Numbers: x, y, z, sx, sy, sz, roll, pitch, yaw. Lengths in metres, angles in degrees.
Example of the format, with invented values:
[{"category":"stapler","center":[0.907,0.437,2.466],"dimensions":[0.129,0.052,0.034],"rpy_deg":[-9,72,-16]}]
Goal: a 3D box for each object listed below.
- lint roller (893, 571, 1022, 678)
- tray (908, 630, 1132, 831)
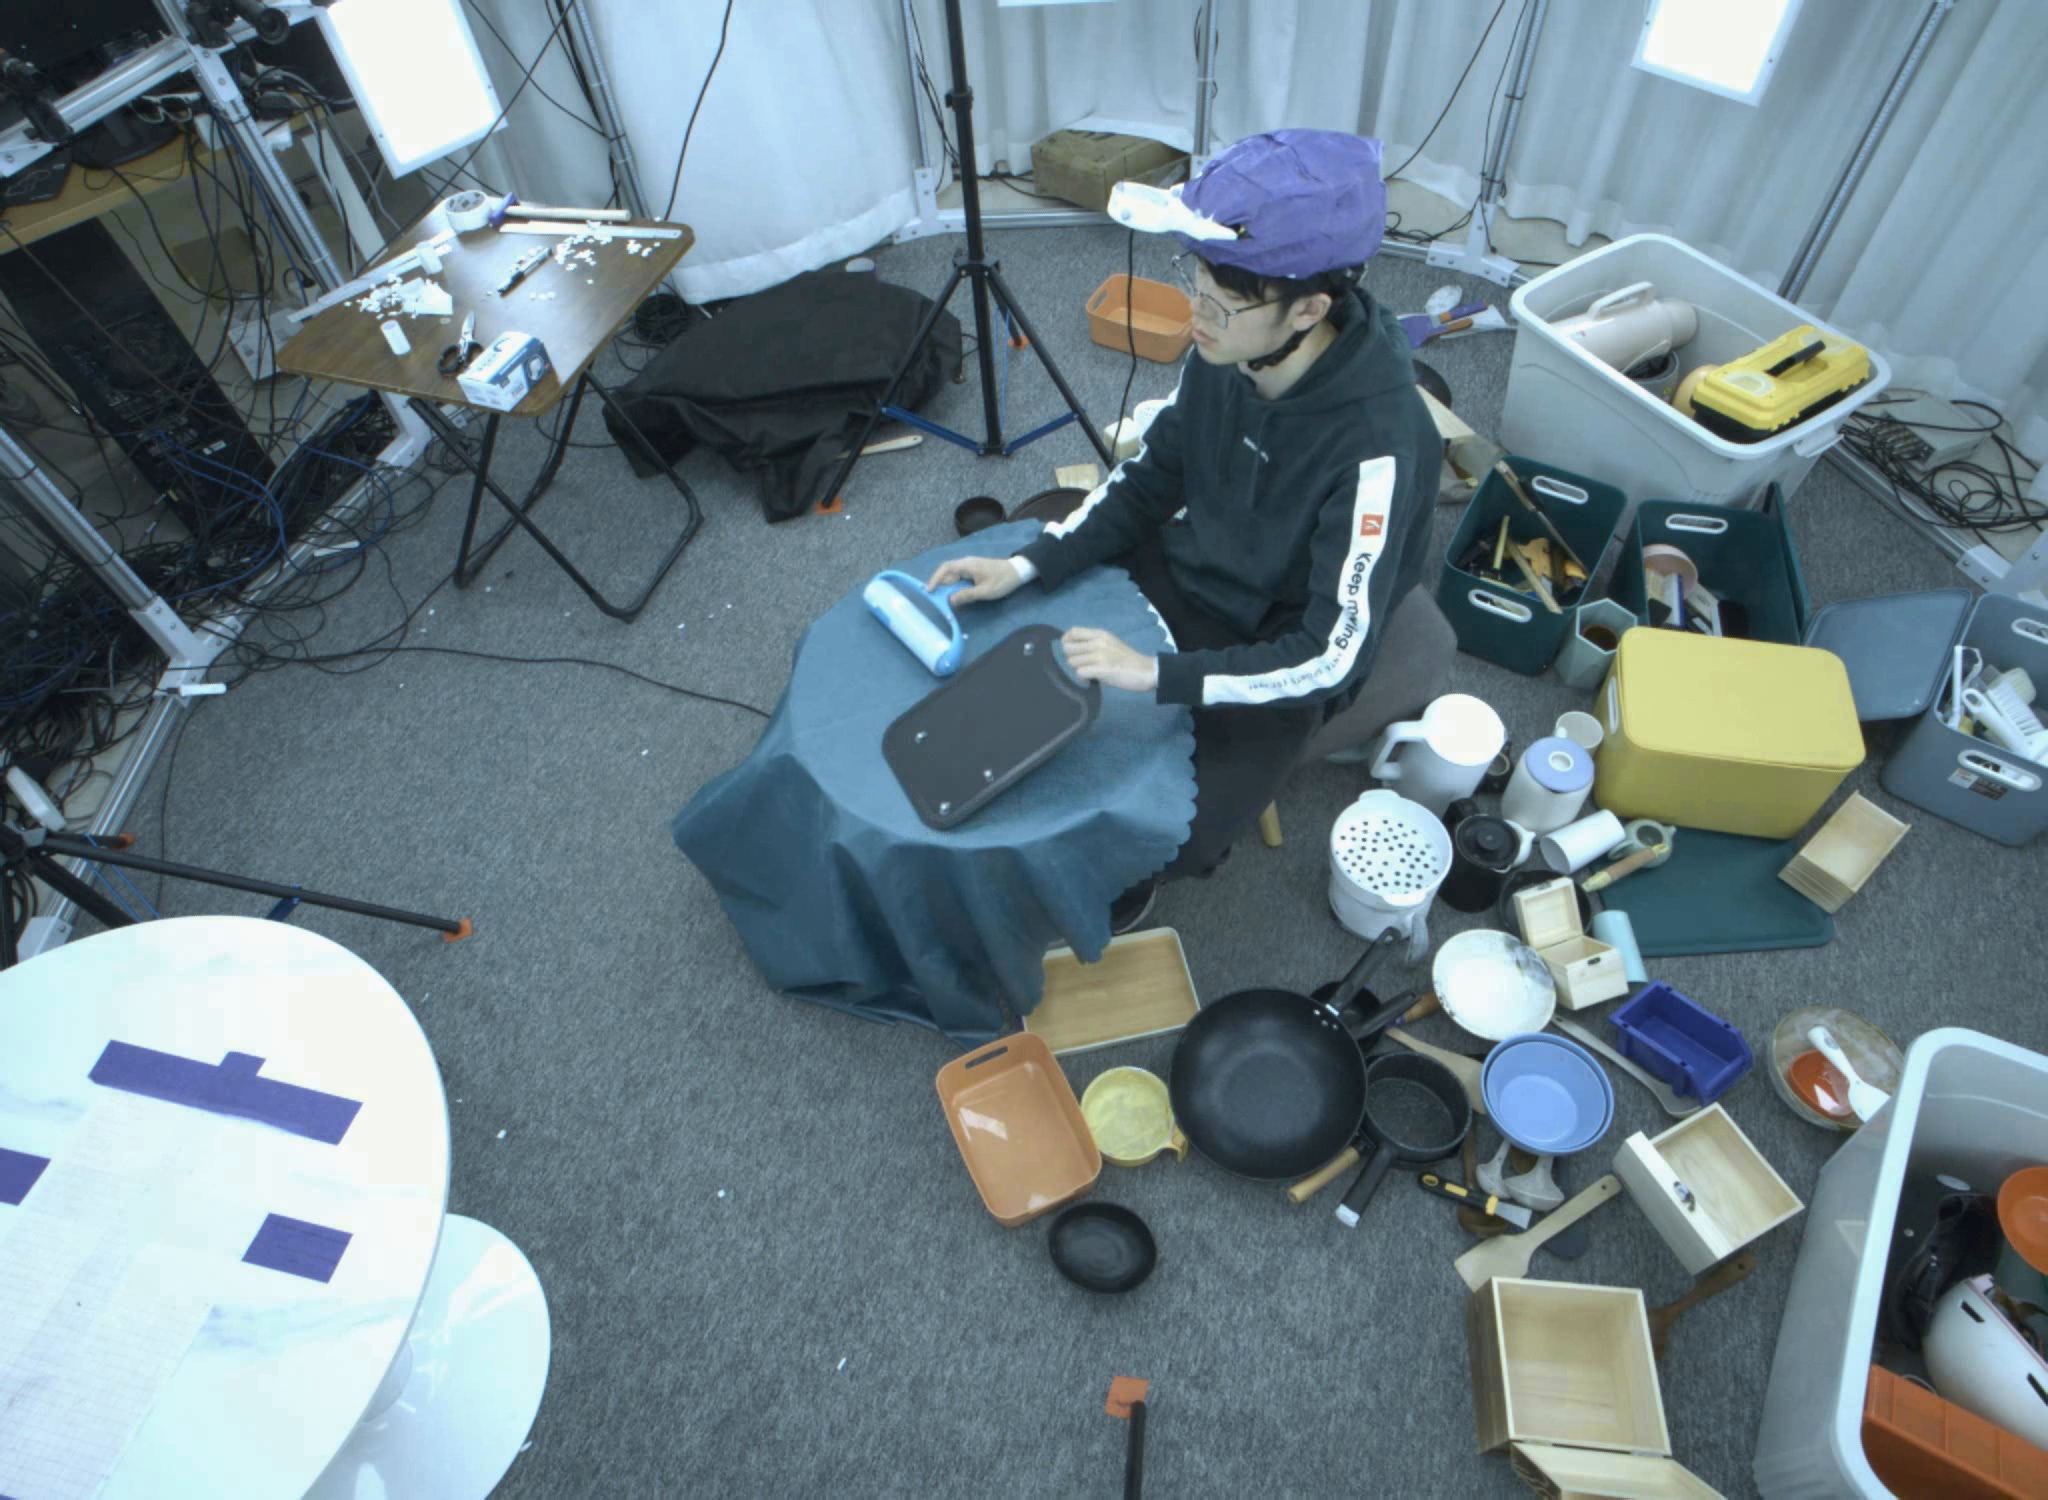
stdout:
[{"category":"lint roller","center":[-0.083,-0.223,1.906],"dimensions":[0.181,0.069,0.224],"rpy_deg":[-37,59,-17]},{"category":"tray","center":[-0.006,-0.037,1.738],"dimensions":[0.325,0.010,0.207],"rpy_deg":[-33,59,3]}]
